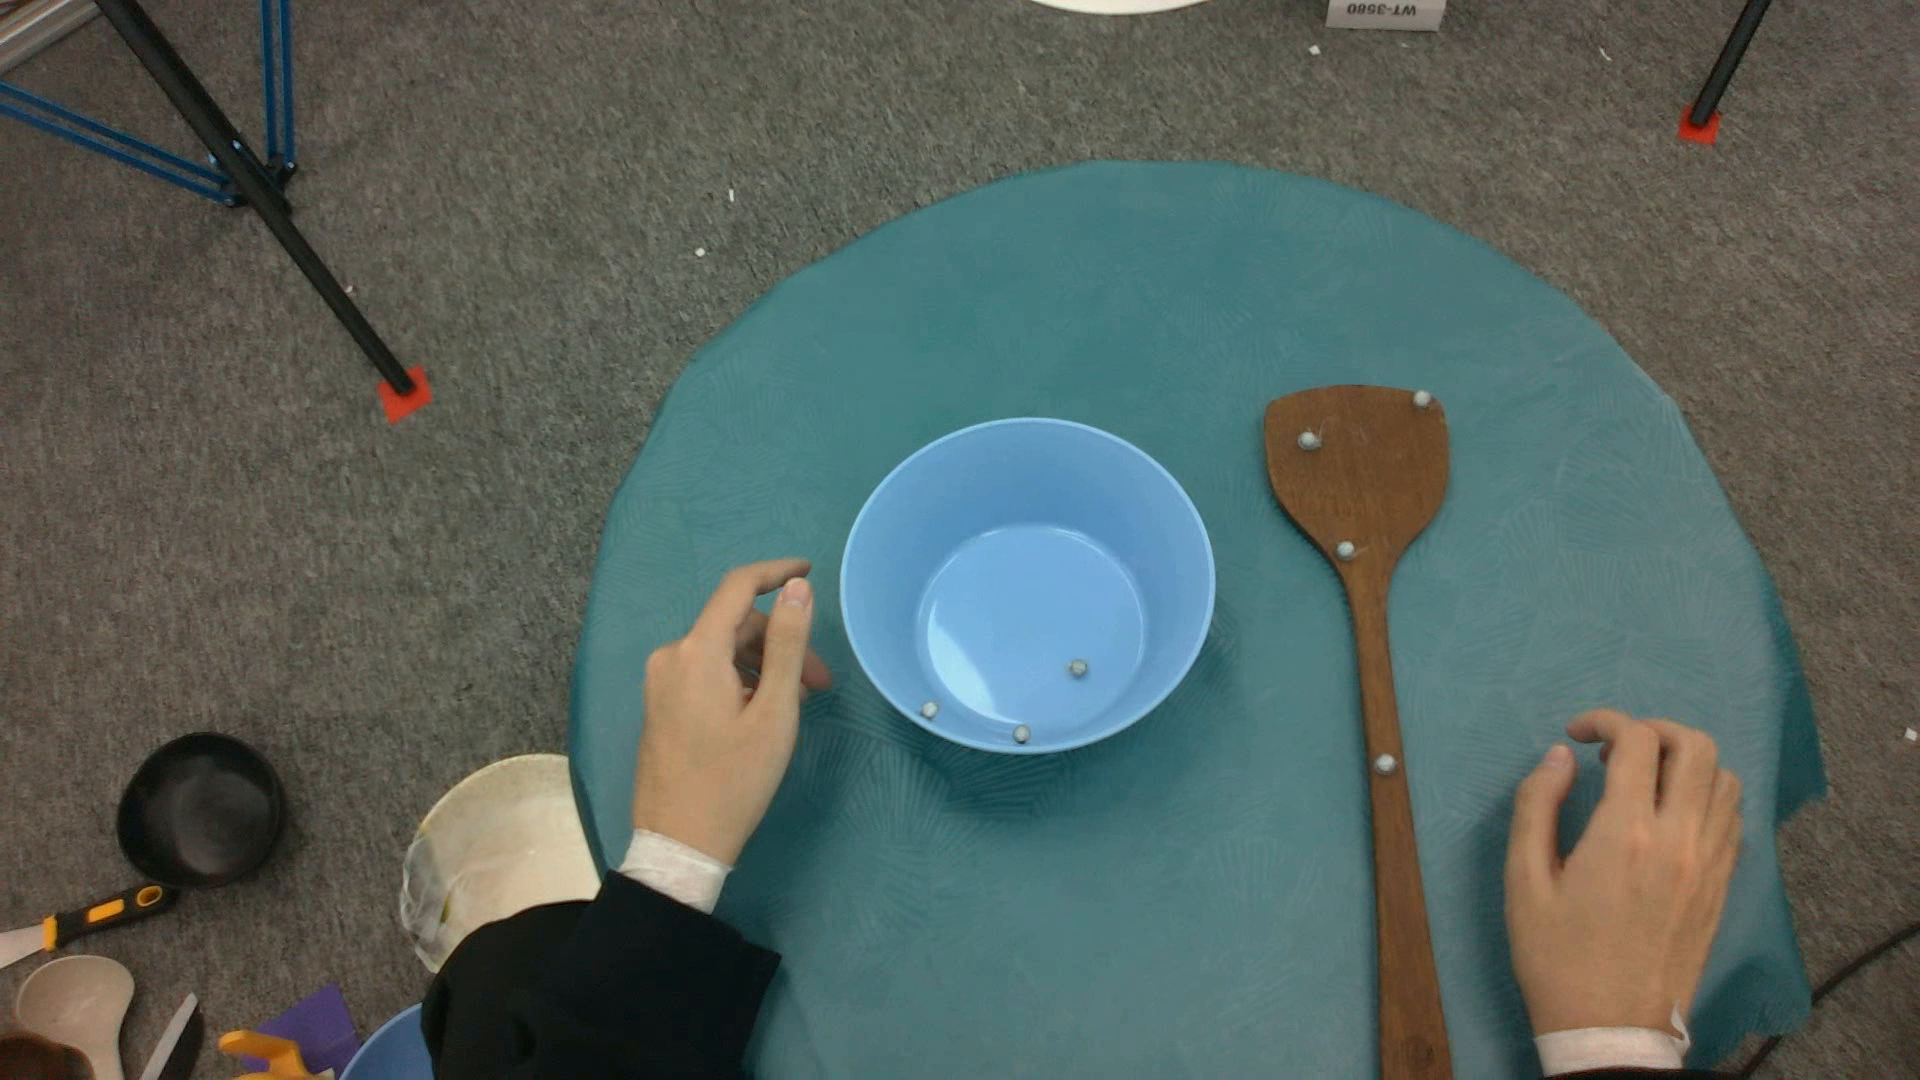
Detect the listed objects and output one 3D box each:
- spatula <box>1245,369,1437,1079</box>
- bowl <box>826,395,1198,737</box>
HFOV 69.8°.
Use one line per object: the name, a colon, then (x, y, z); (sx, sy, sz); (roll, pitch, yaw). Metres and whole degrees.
spatula: (0.194, 0.080, 0.661); (0.096, 0.016, 0.387); (0, 63, 5)
bowl: (0.026, 0.021, 0.674); (0.176, 0.070, 0.176); (-2, 64, 4)
